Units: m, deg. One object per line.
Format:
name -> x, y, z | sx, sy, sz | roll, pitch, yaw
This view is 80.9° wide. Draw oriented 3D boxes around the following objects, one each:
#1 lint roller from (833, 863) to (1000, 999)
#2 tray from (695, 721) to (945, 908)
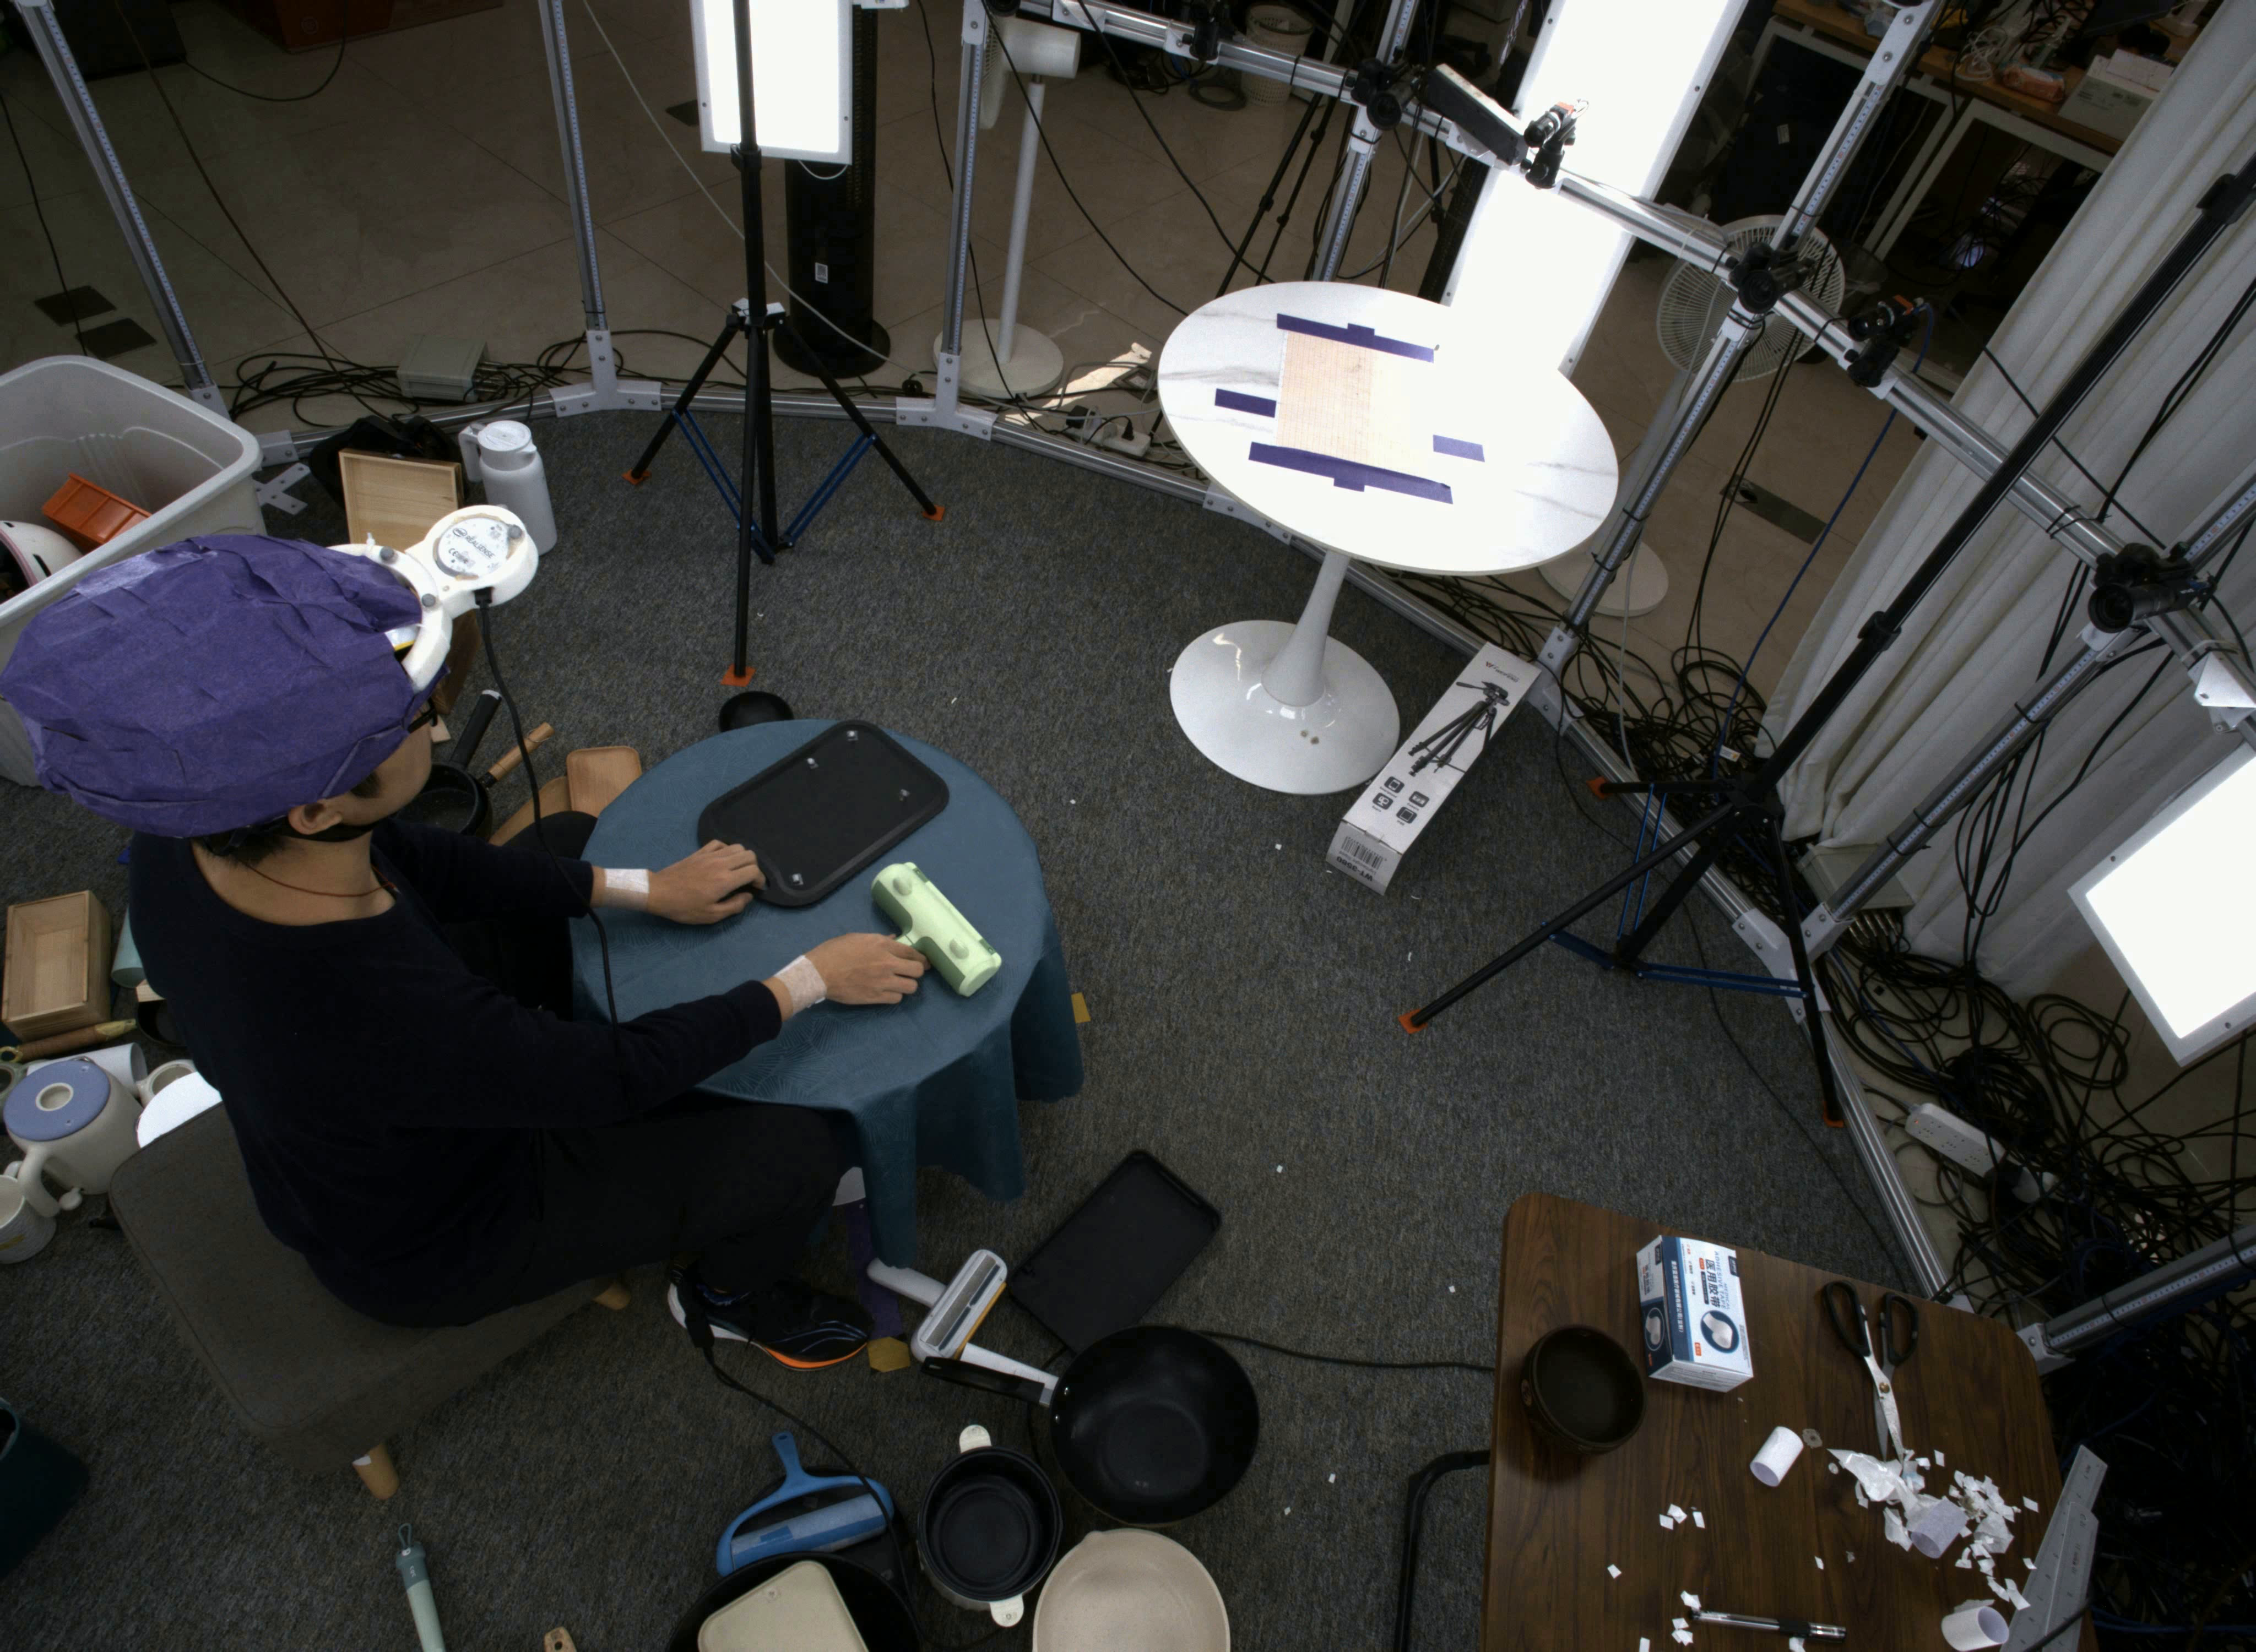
lint roller -> -0.283, 0.142, 1.589 | 0.194, 0.084, 0.184 | 43, 49, 19
tray -> -0.410, -0.020, 1.725 | 0.207, 0.010, 0.326 | 38, 52, 15
